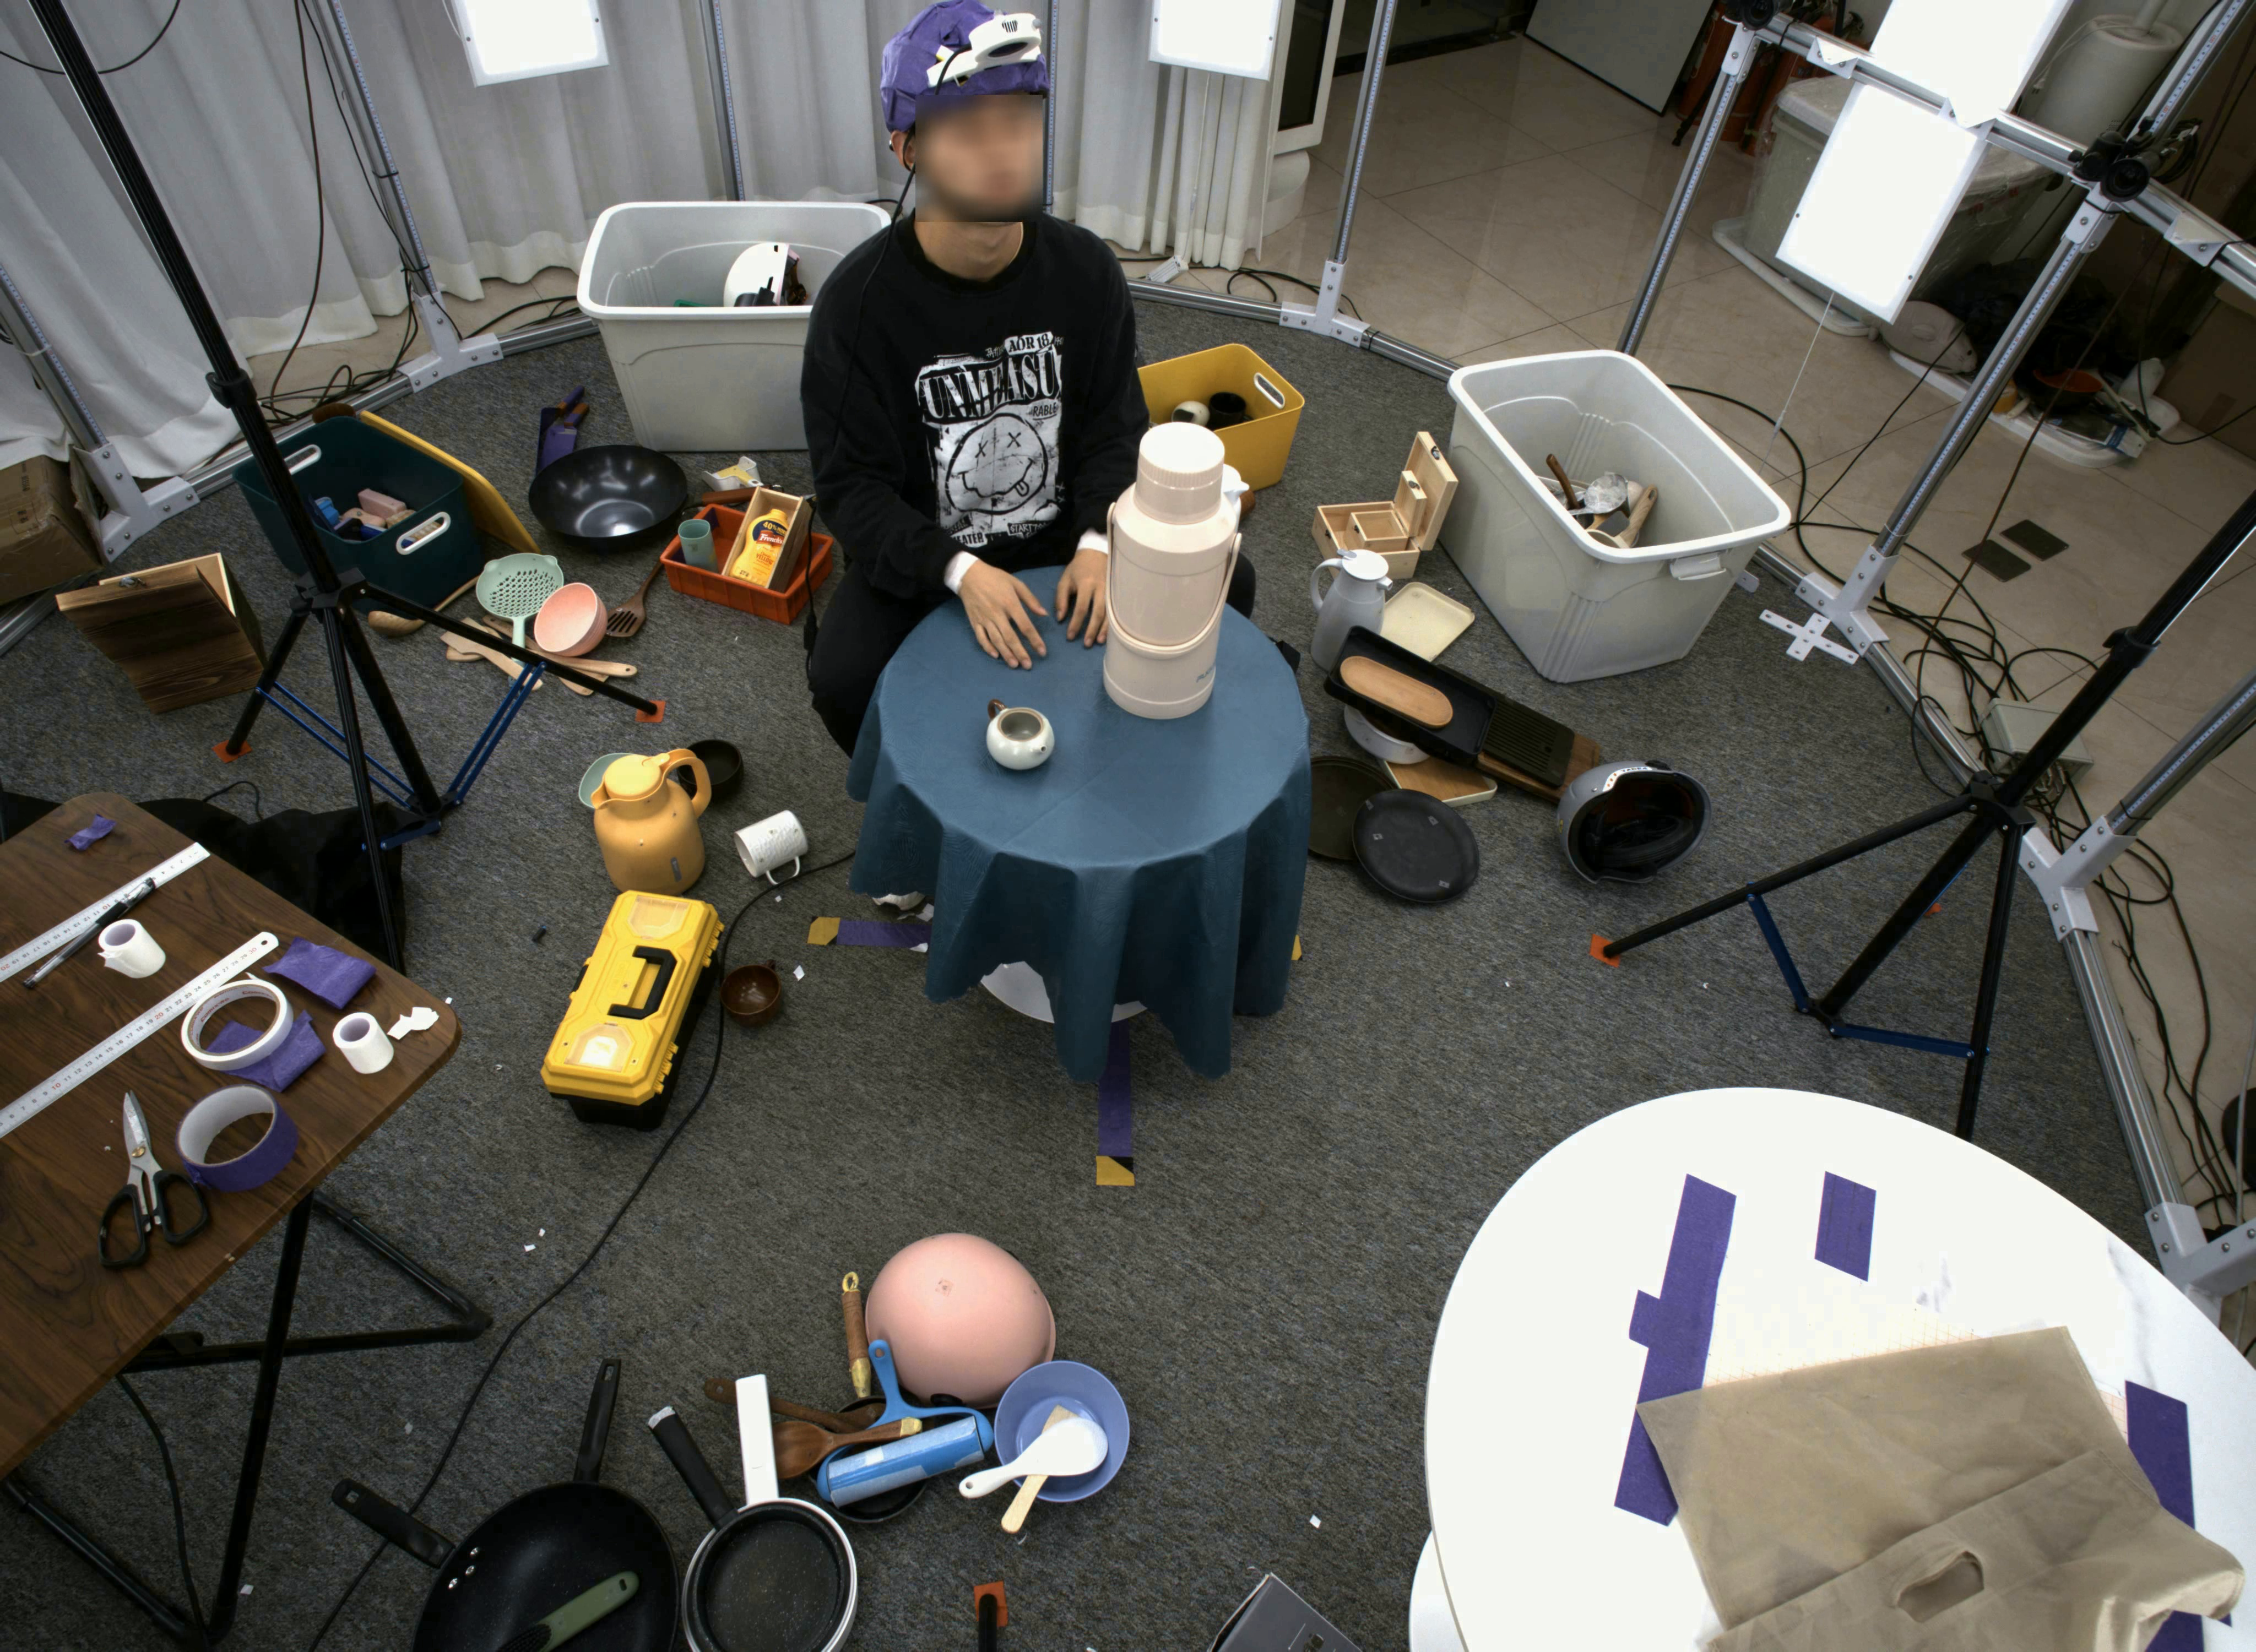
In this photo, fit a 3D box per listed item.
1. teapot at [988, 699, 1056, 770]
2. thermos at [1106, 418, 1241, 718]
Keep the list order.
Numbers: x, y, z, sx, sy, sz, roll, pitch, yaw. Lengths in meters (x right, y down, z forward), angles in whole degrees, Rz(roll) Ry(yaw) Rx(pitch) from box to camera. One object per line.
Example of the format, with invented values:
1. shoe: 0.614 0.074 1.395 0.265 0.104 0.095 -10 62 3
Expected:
1. teapot: -0.149 -0.124 1.729 0.092 0.058 0.130 -33 60 -22
2. thermos: 0.061 -0.346 1.718 0.176 0.396 0.211 14 51 10
